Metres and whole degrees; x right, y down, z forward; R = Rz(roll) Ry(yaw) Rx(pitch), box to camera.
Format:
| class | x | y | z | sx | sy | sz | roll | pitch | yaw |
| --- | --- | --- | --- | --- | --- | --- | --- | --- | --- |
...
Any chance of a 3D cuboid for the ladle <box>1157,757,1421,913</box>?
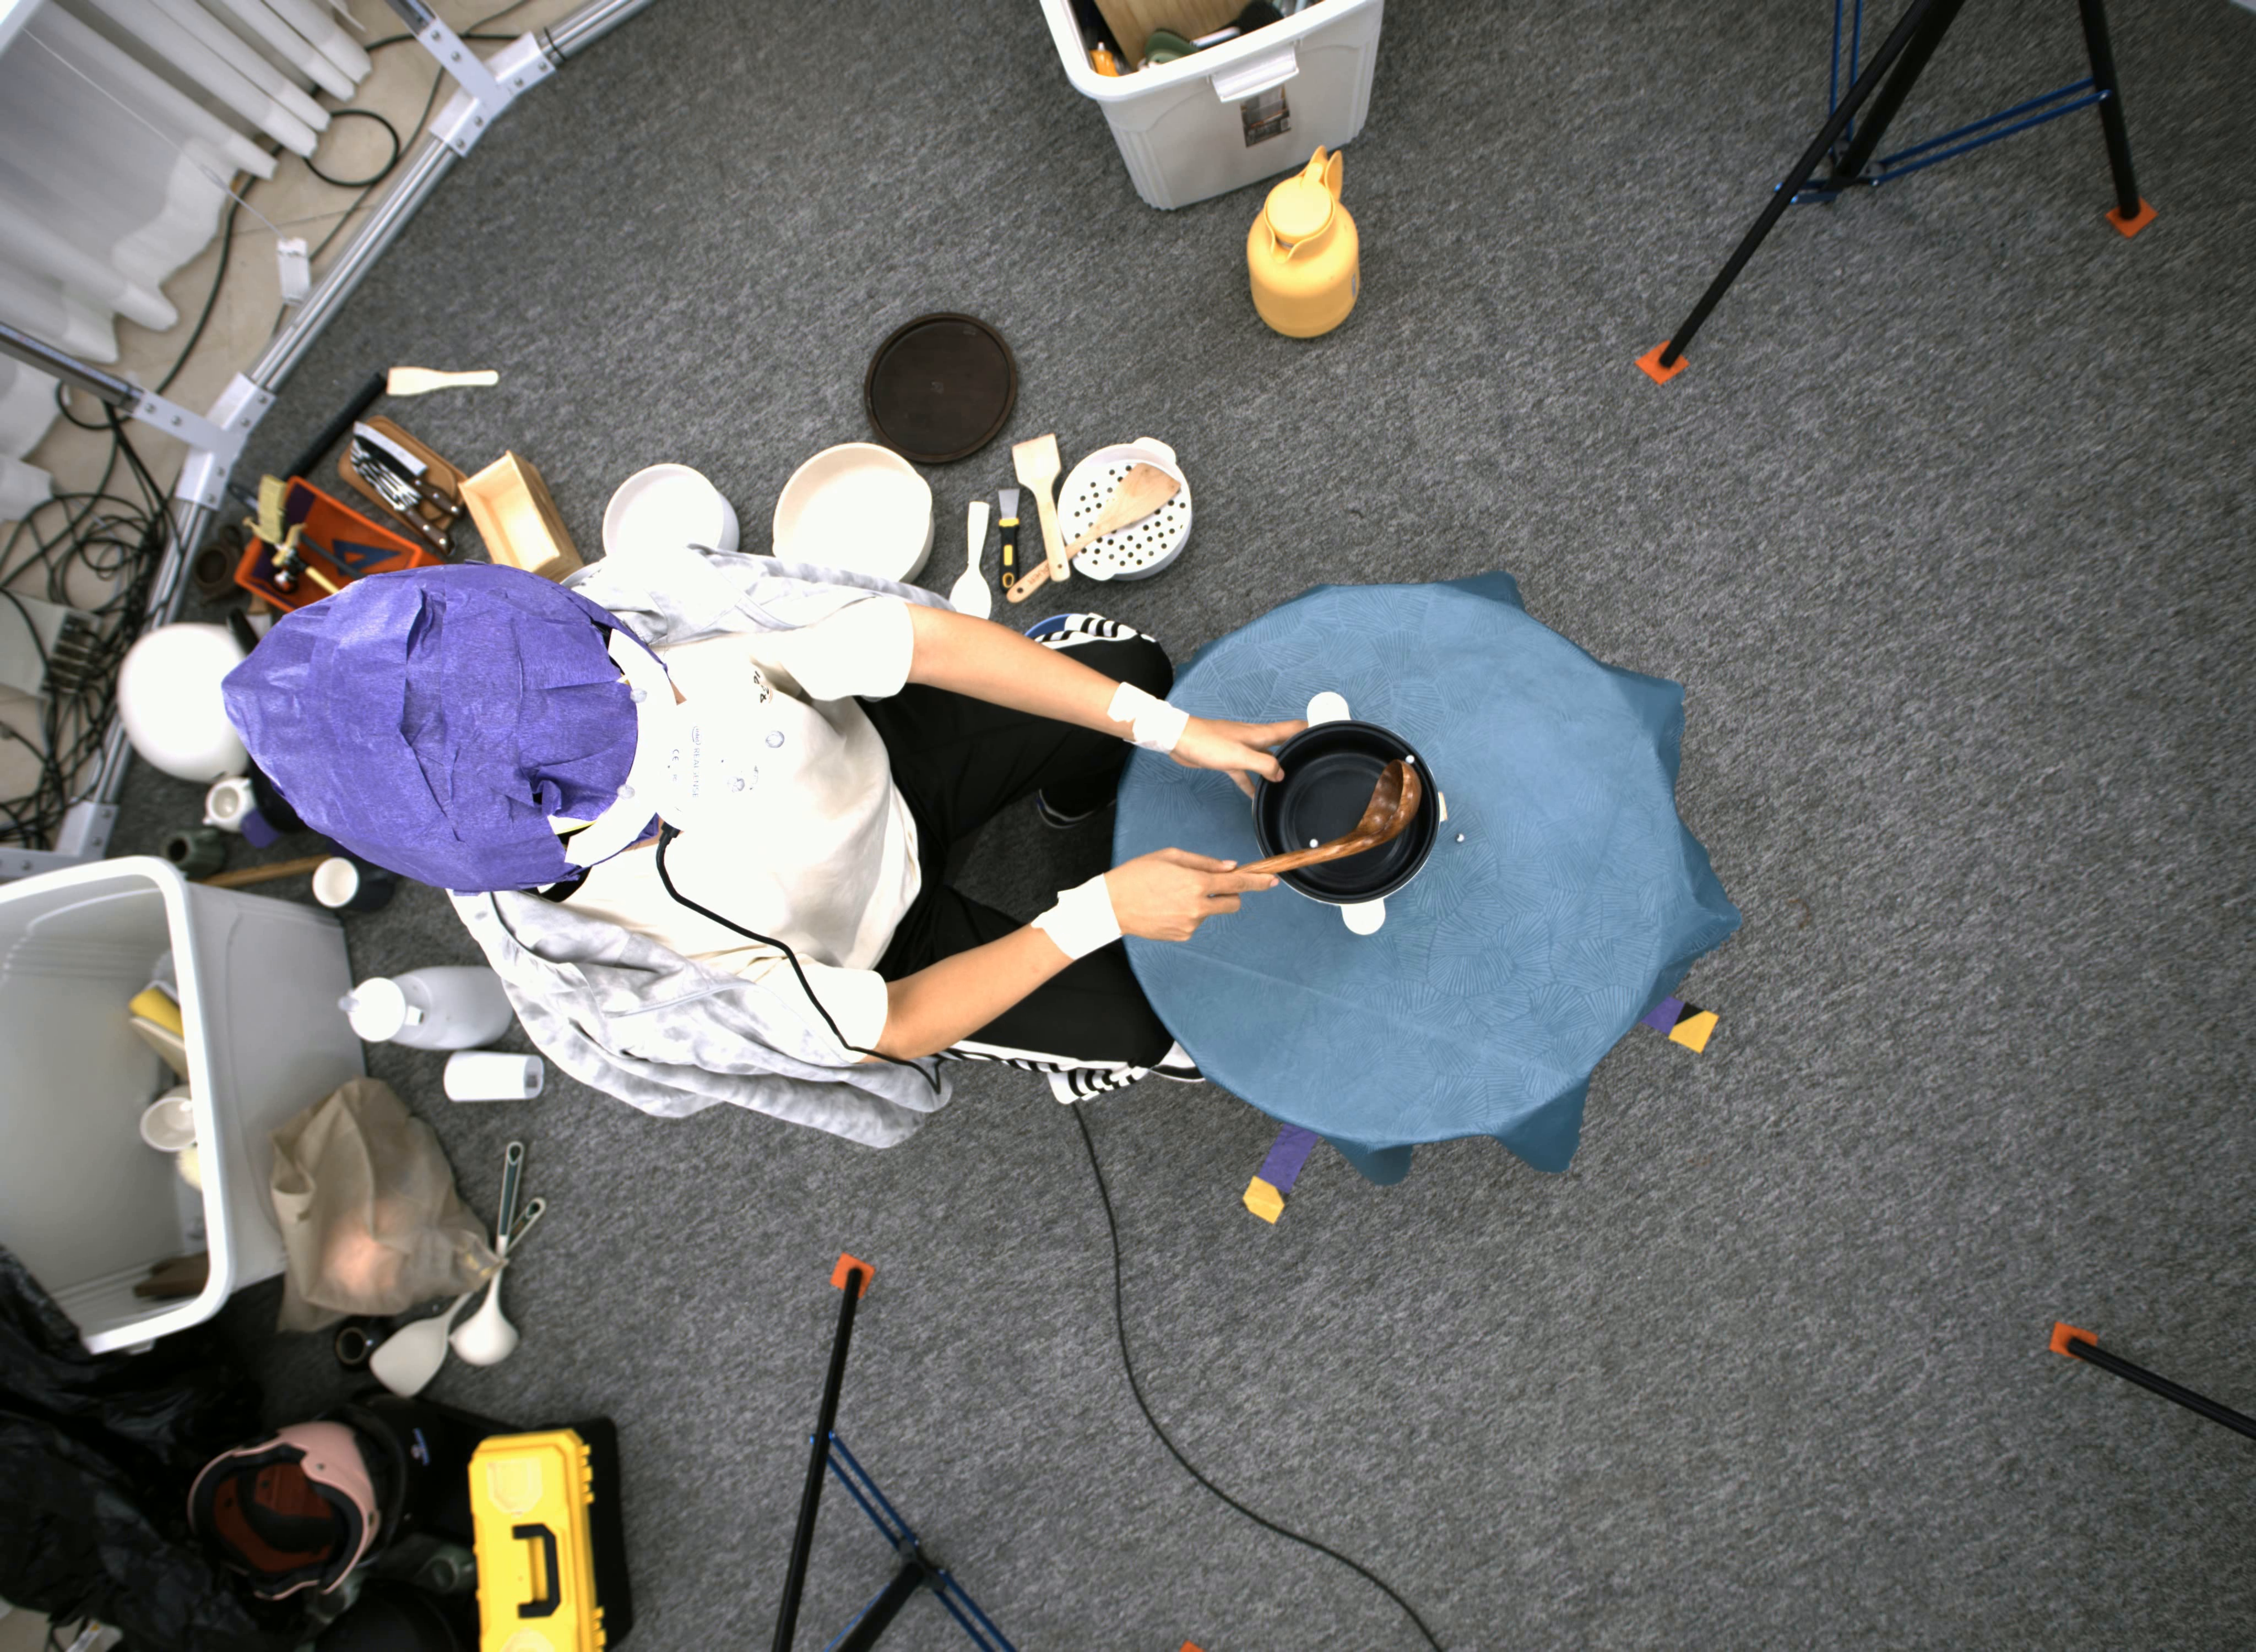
| class | x | y | z | sx | sy | sz | roll | pitch | yaw |
| --- | --- | --- | --- | --- | --- | --- | --- | --- | --- |
| ladle | 0.150 | 0.006 | 1.313 | 0.274 | 0.081 | 0.077 | -17 | 98 | 1 |

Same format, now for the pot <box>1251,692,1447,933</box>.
| class | x | y | z | sx | sy | sz | roll | pitch | yaw |
| --- | --- | --- | --- | --- | --- | --- | --- | --- | --- |
| pot | 0.227 | -0.011 | 1.400 | 0.192 | 0.142 | 0.239 | -11 | 85 | 13 |
